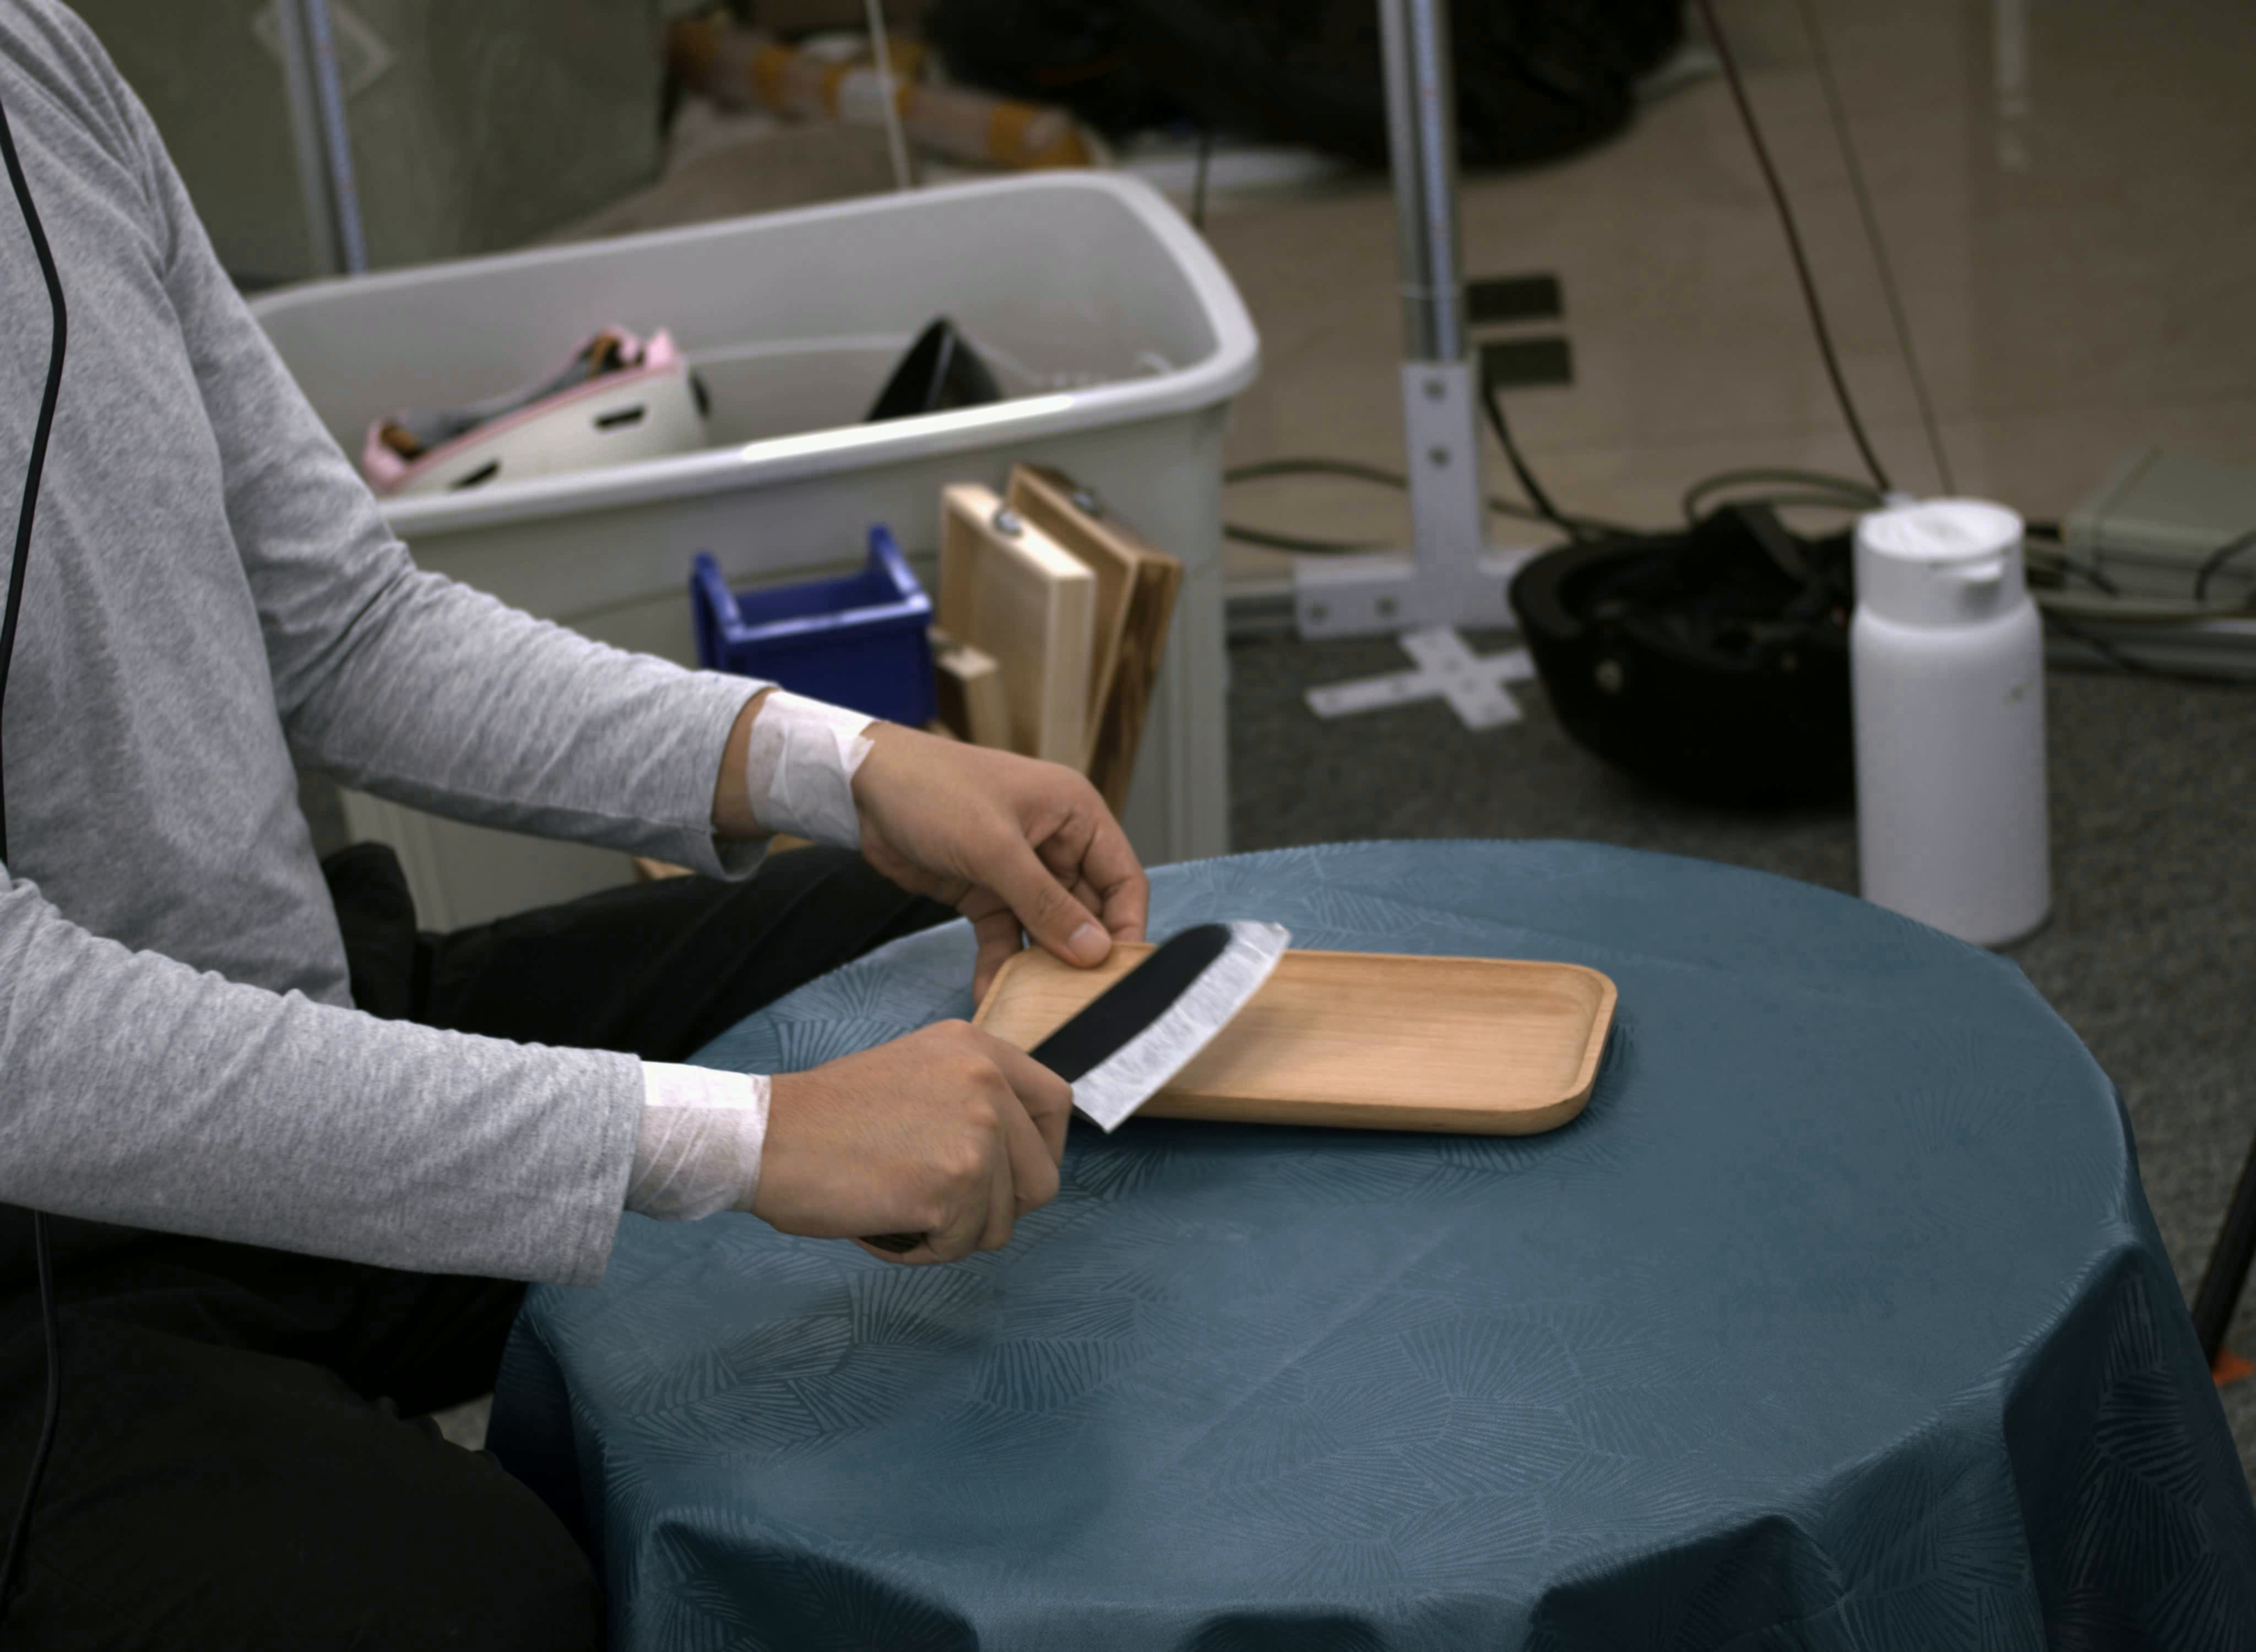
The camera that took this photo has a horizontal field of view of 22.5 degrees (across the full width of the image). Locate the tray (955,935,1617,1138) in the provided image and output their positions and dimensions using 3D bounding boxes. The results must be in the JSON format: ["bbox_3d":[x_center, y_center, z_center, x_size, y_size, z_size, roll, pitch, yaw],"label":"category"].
[{"bbox_3d":[0.063,0.082,2.225,0.250,0.023,0.129,2,24,14],"label":"tray"}]

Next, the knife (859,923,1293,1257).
[{"bbox_3d":[-0.014,0.094,2.133,0.050,0.020,0.286,39,38,13],"label":"knife"}]
